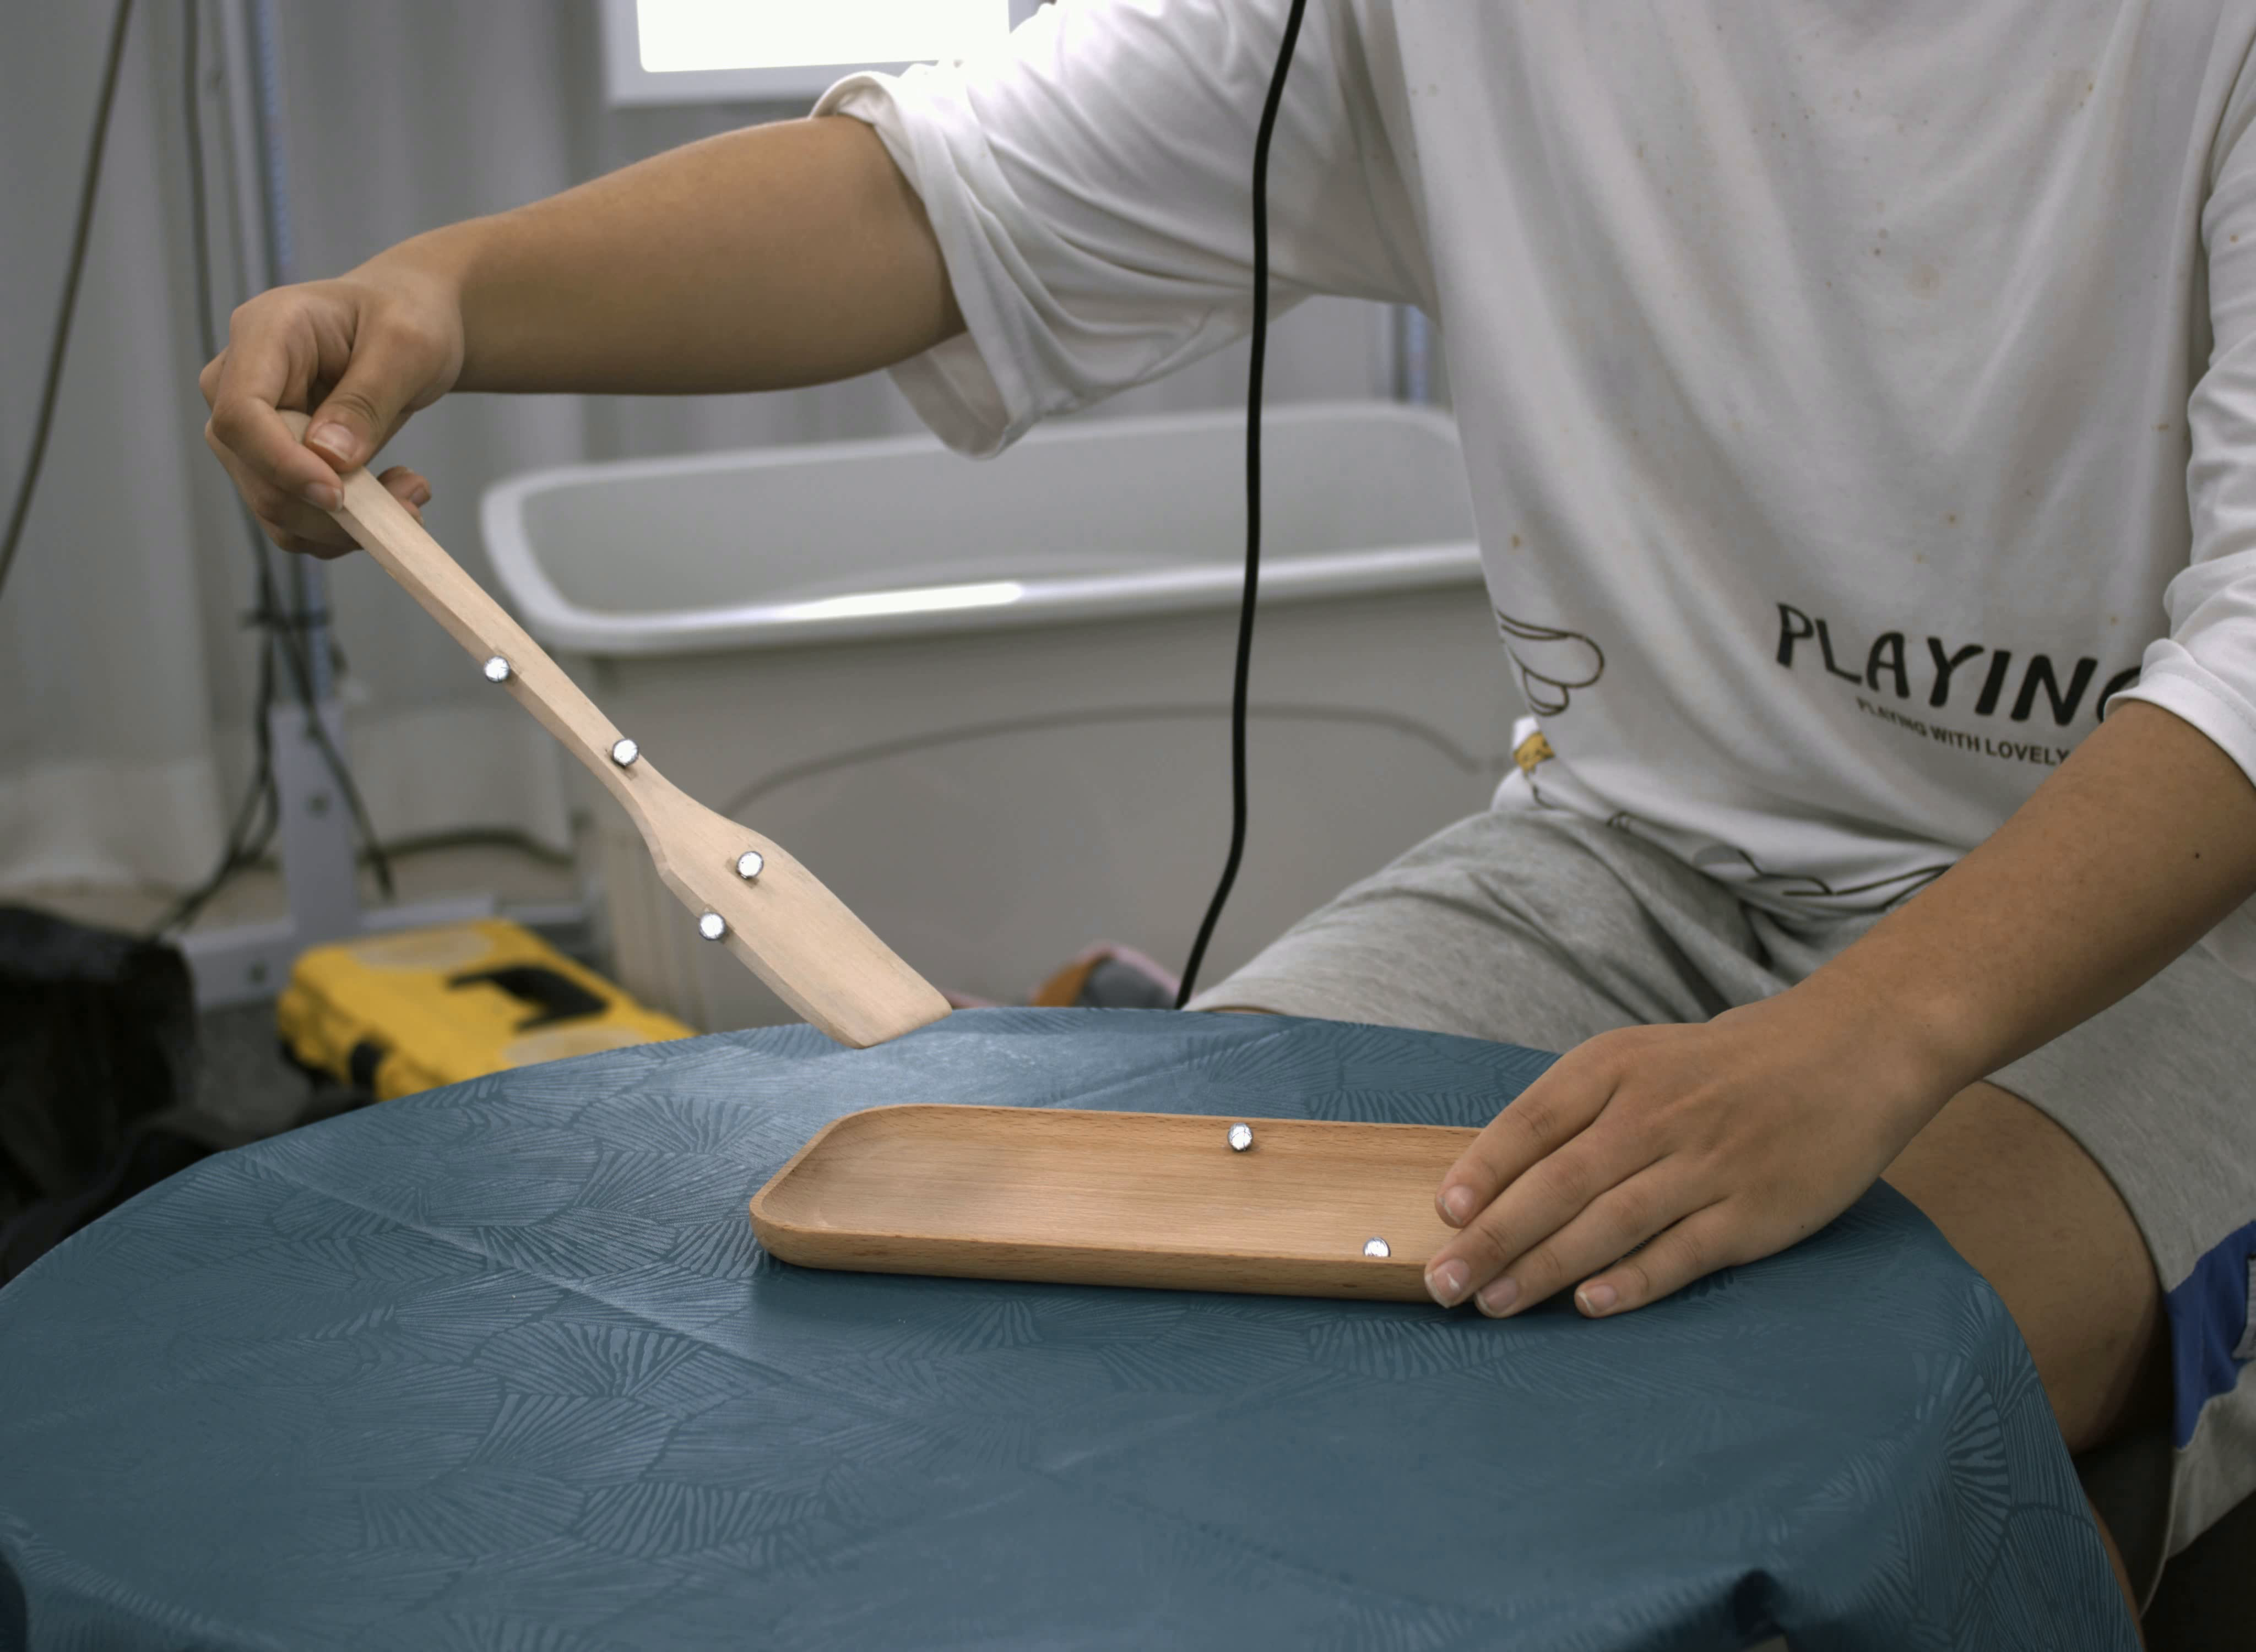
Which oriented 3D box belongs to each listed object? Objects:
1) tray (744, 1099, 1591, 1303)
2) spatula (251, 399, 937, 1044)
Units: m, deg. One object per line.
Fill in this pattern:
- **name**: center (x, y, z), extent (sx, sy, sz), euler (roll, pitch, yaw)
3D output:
- **tray**: center (0.013, 0.115, 1.685), extent (0.250, 0.023, 0.131), euler (1, 13, 17)
- **spatula**: center (-0.176, -0.035, 1.726), extent (0.294, 0.010, 0.072), euler (44, 22, 13)
